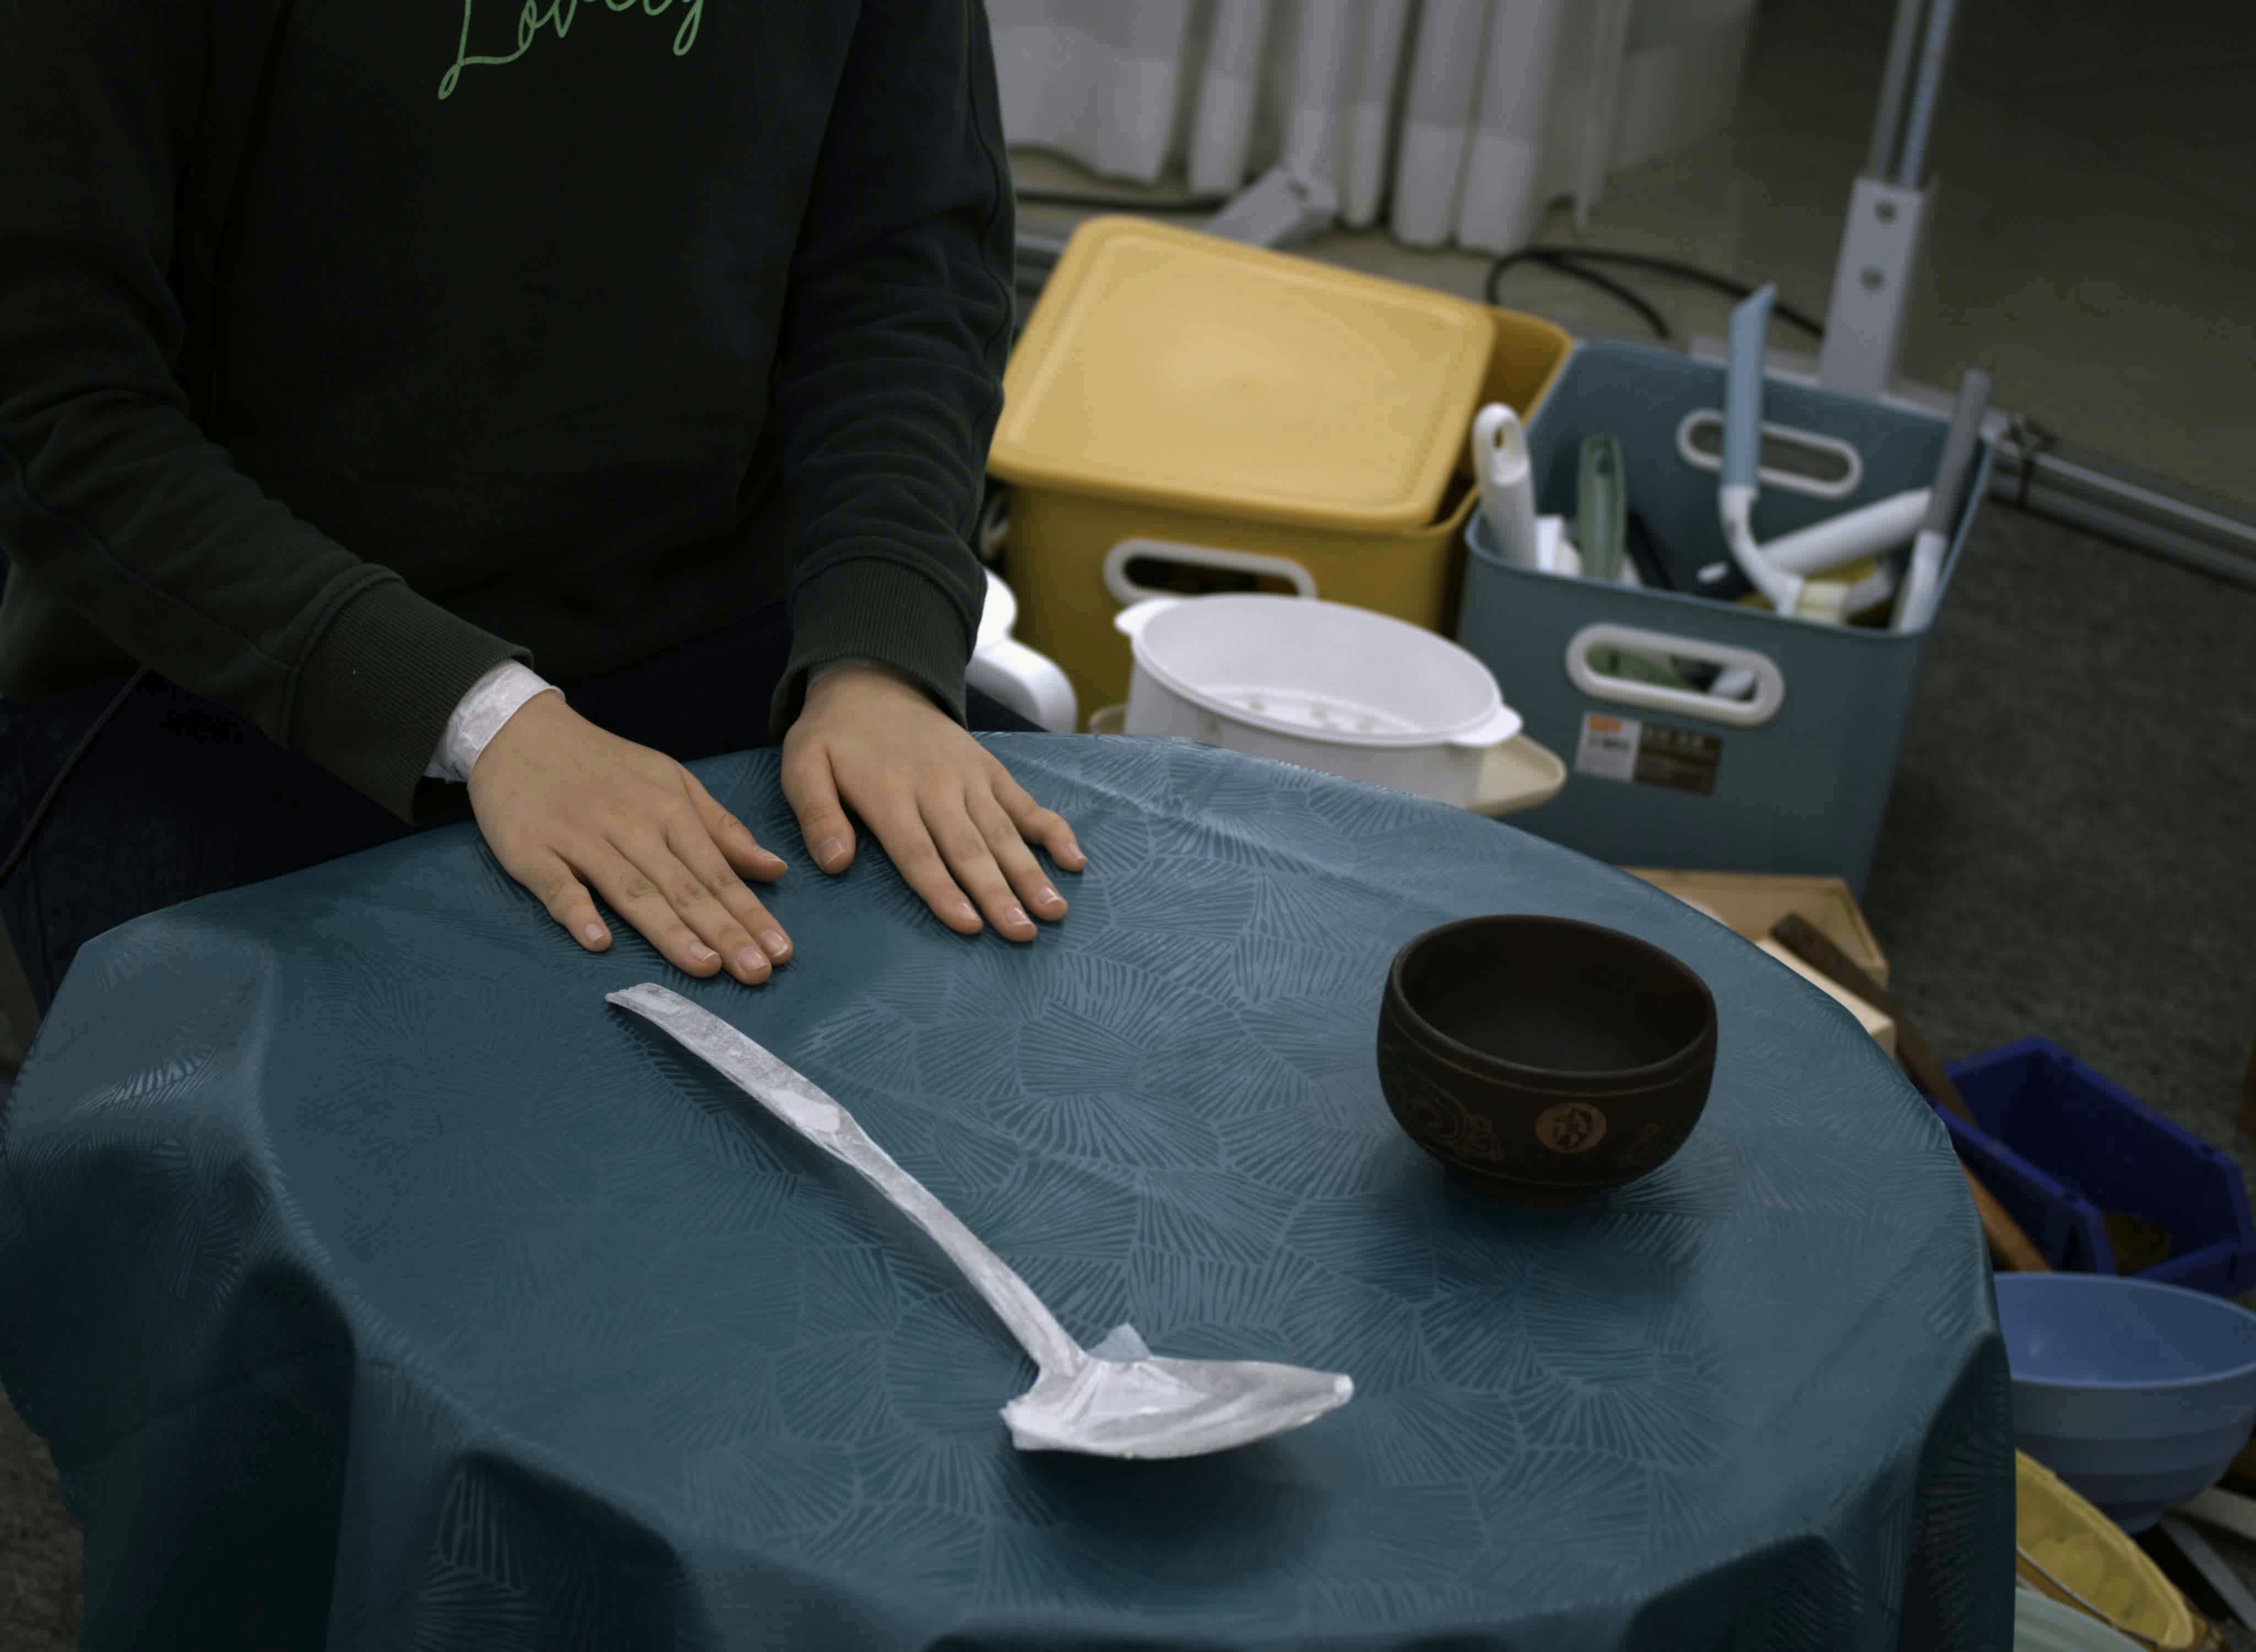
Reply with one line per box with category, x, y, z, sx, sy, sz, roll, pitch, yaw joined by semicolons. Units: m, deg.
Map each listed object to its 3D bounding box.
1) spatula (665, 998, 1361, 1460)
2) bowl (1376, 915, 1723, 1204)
spatula;-0.062;0.124;1.744;0.098;0.044;0.368;-14;33;-32
bowl;0.142;0.087;1.828;0.117;0.069;0.118;5;24;-2
